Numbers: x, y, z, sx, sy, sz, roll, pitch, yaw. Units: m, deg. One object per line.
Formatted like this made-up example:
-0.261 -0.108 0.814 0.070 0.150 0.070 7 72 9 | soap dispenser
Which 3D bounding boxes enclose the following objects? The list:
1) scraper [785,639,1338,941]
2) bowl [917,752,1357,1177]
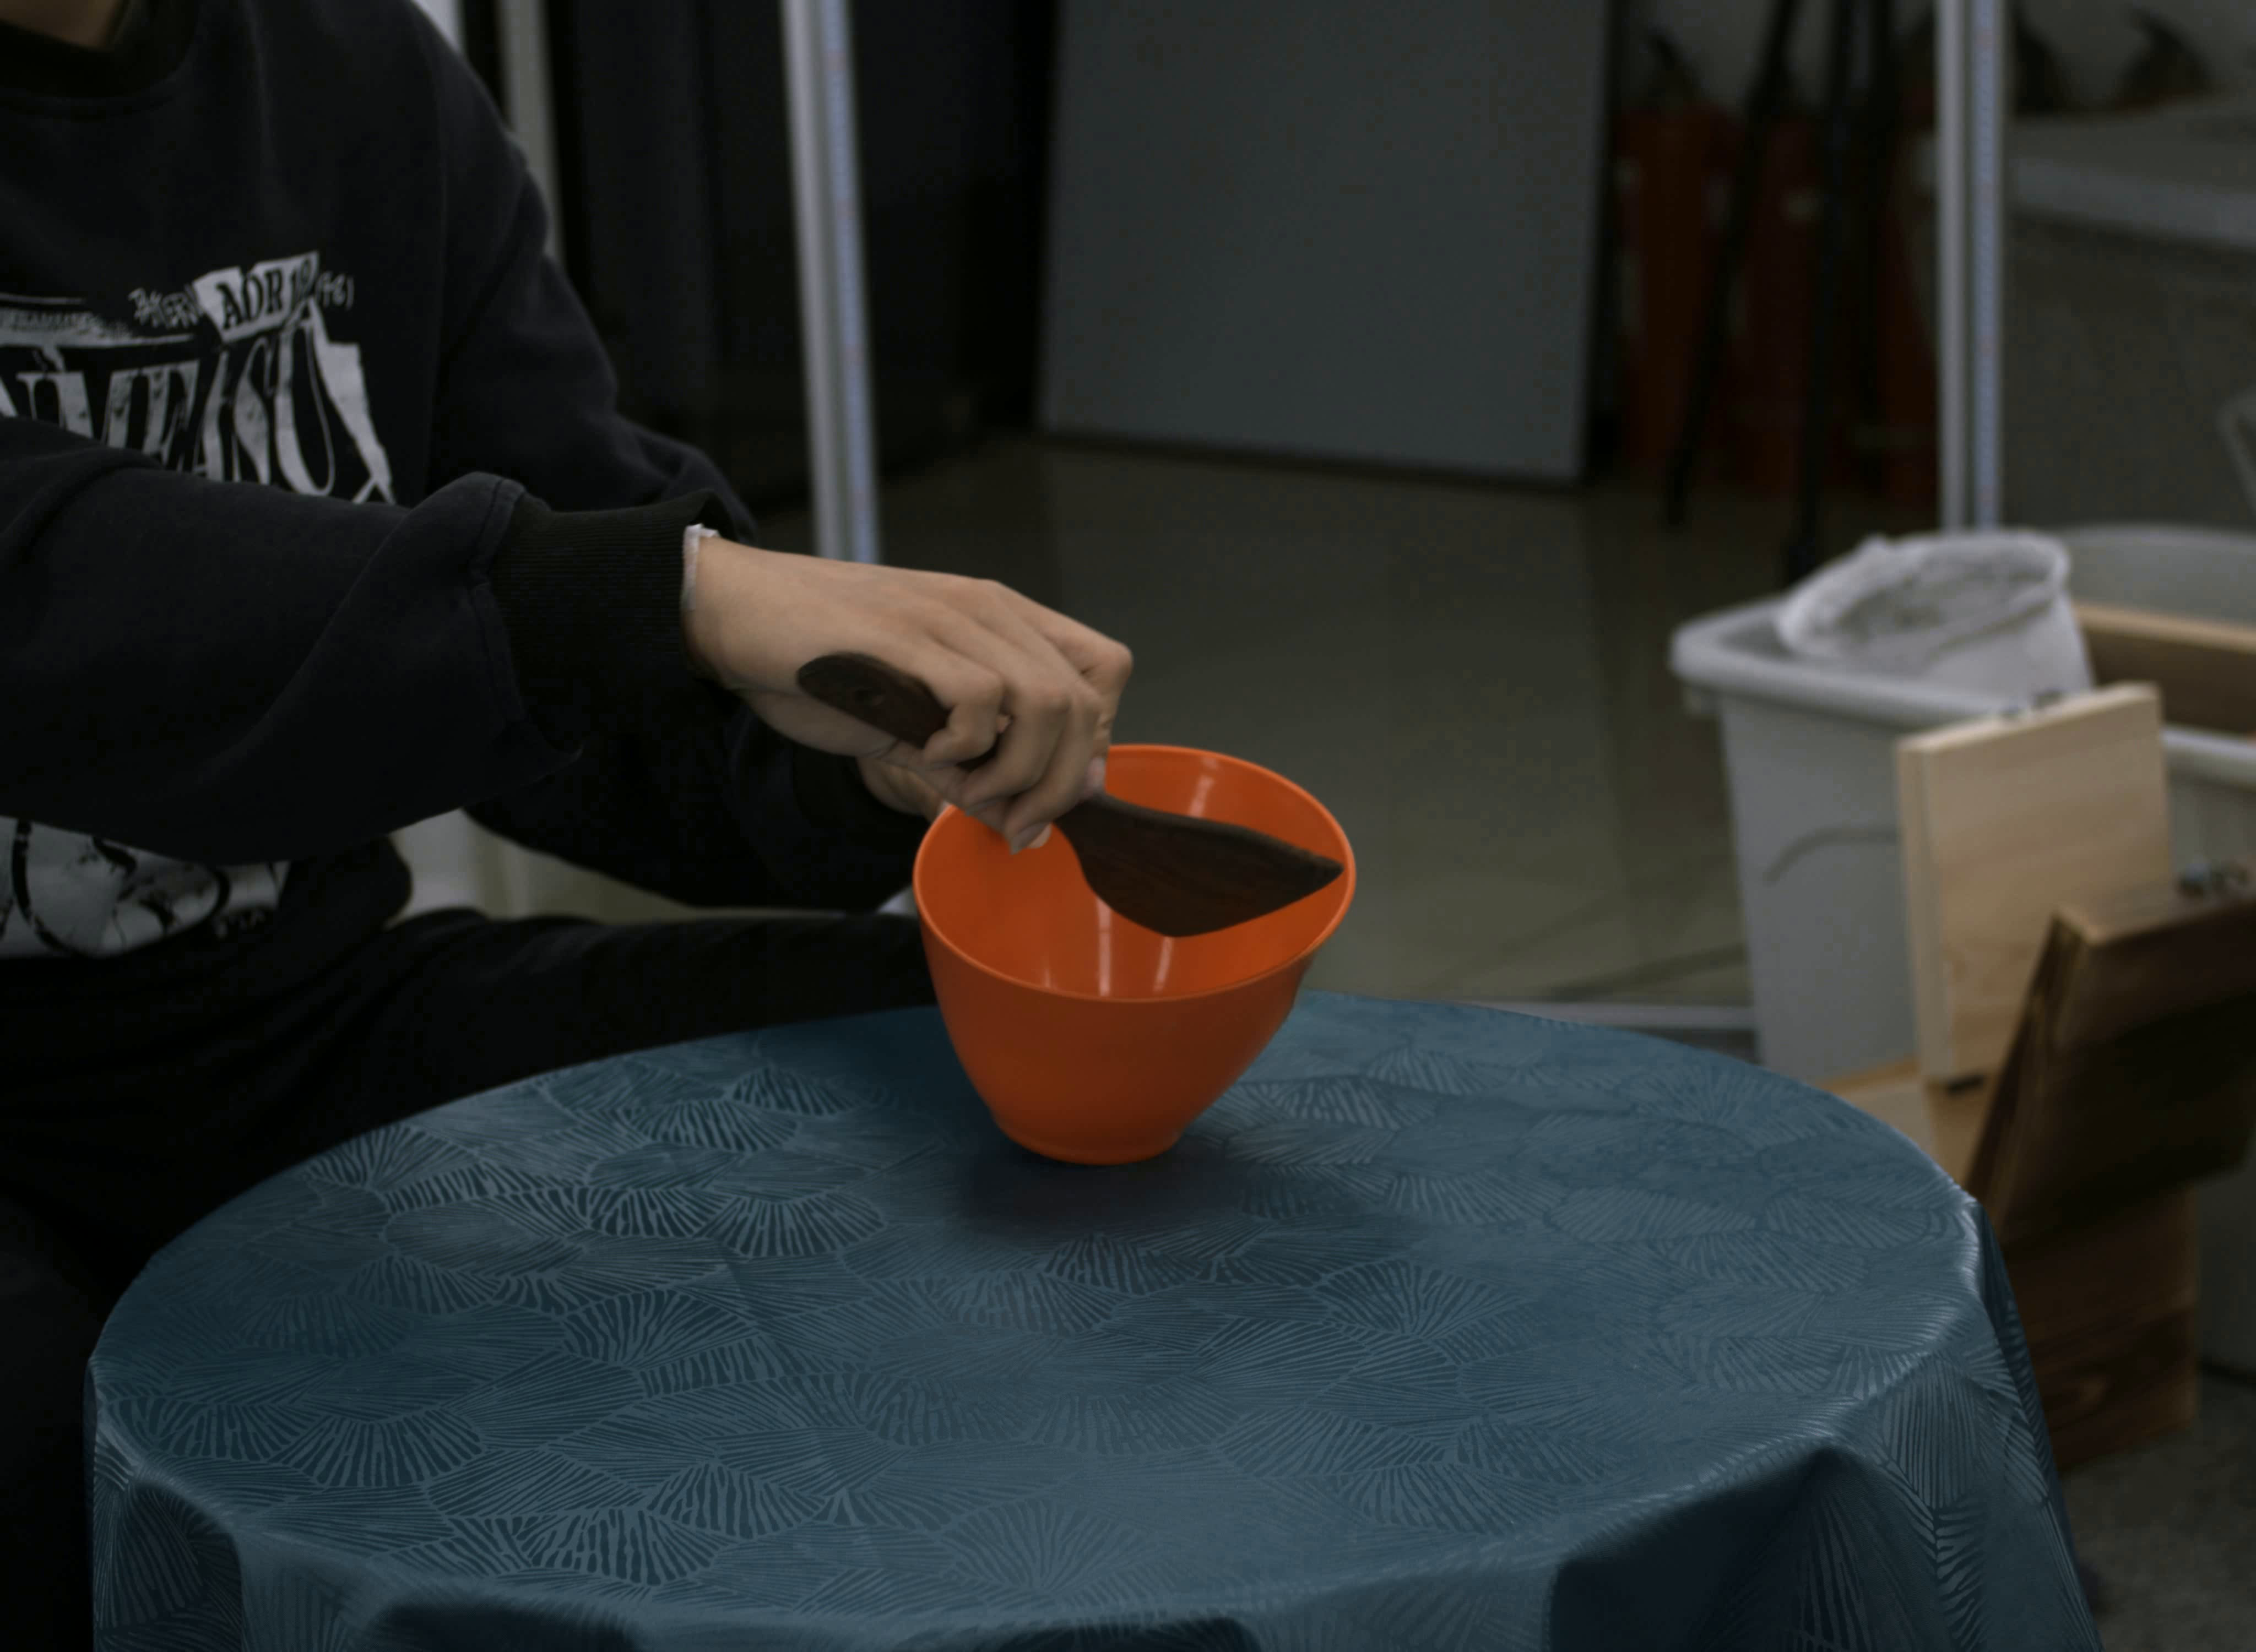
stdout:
-0.025 -0.011 1.694 0.076 0.011 0.207 -25 -41 39 | scraper
-0.001 0.052 1.810 0.146 0.106 0.148 4 26 -3 | bowl
